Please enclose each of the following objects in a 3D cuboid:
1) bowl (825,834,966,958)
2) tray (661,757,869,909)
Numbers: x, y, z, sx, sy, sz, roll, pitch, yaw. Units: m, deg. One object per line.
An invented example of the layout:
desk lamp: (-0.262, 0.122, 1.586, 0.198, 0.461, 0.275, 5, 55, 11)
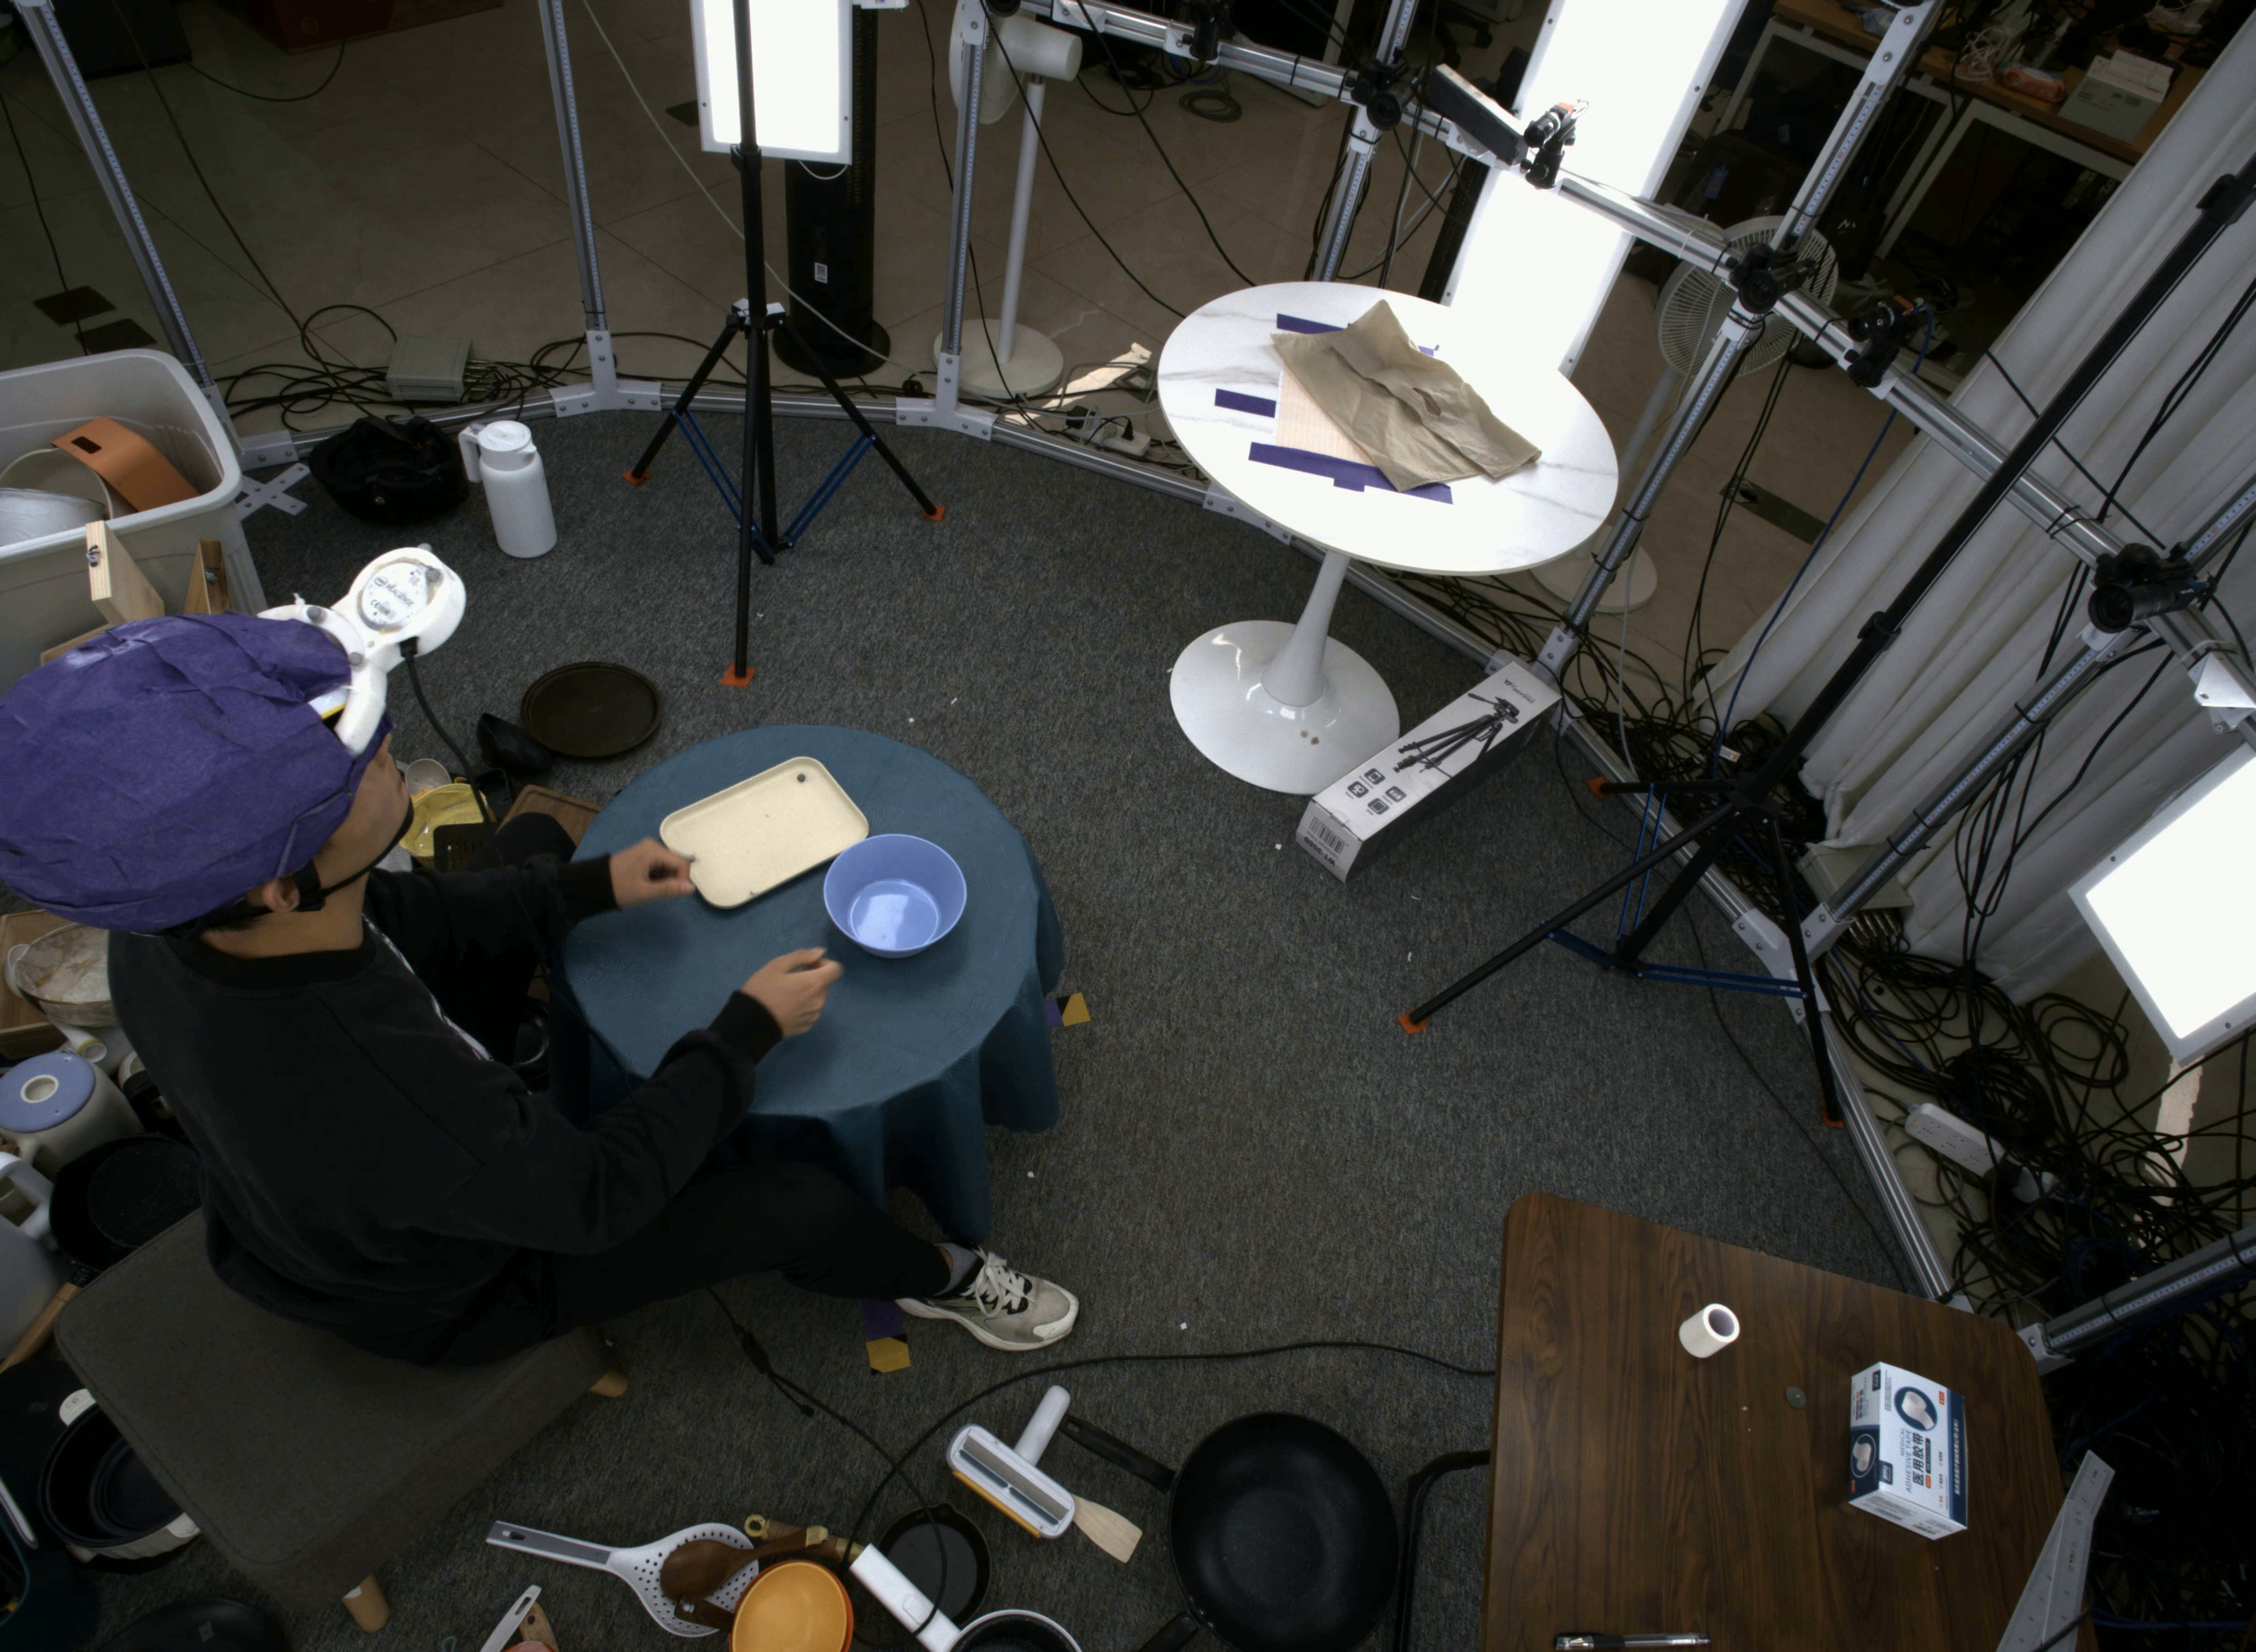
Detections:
bowl: (-0.293, 0.098, 1.644, 0.175, 0.072, 0.173, 7, 52, -8)
tray: (-0.475, 0.006, 1.700, 0.240, 0.018, 0.167, -30, 65, -31)
